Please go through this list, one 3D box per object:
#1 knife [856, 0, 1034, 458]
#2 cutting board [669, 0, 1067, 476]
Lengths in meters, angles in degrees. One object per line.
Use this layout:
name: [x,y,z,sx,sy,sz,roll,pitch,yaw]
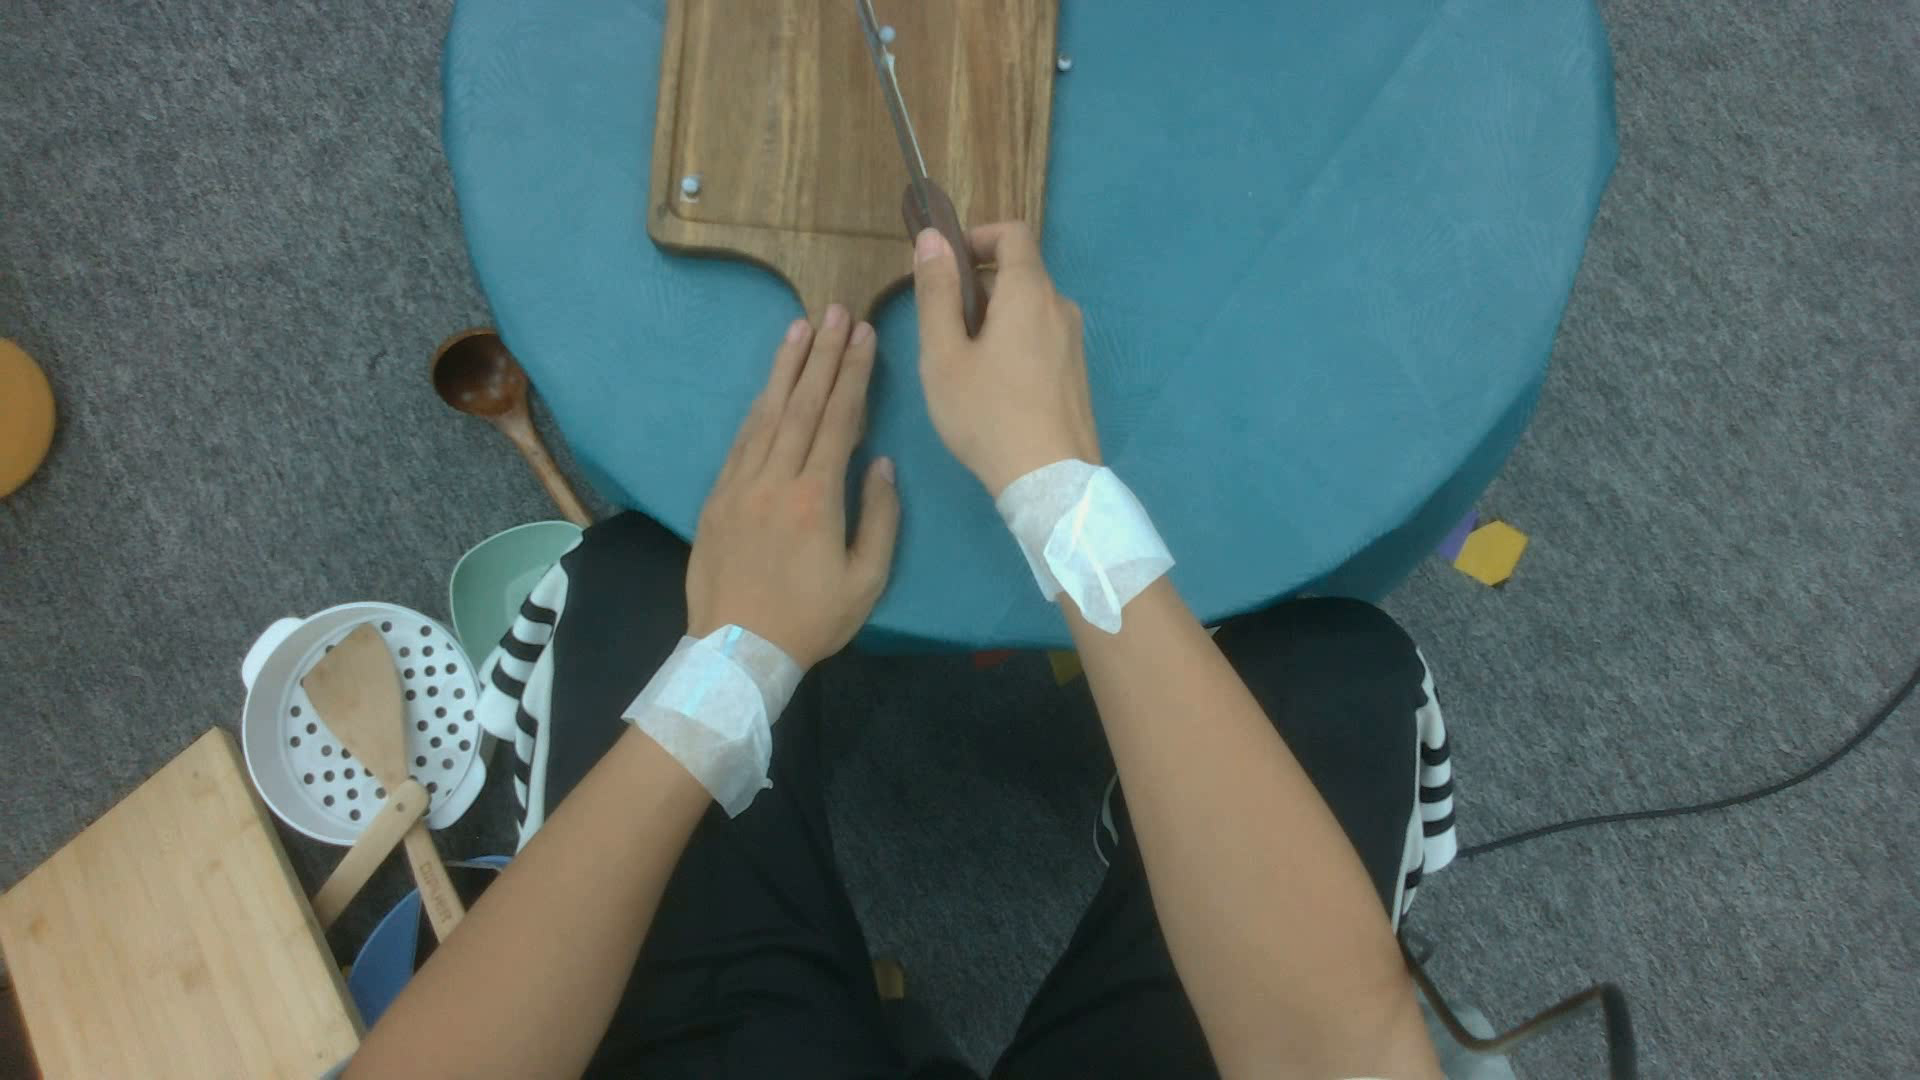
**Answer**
knife: [-0.017,-0.176,0.668,0.024,0.068,0.300,-19,79,8]
cutting board: [-0.047,-0.208,0.718,0.201,0.023,0.352,4,83,-1]
